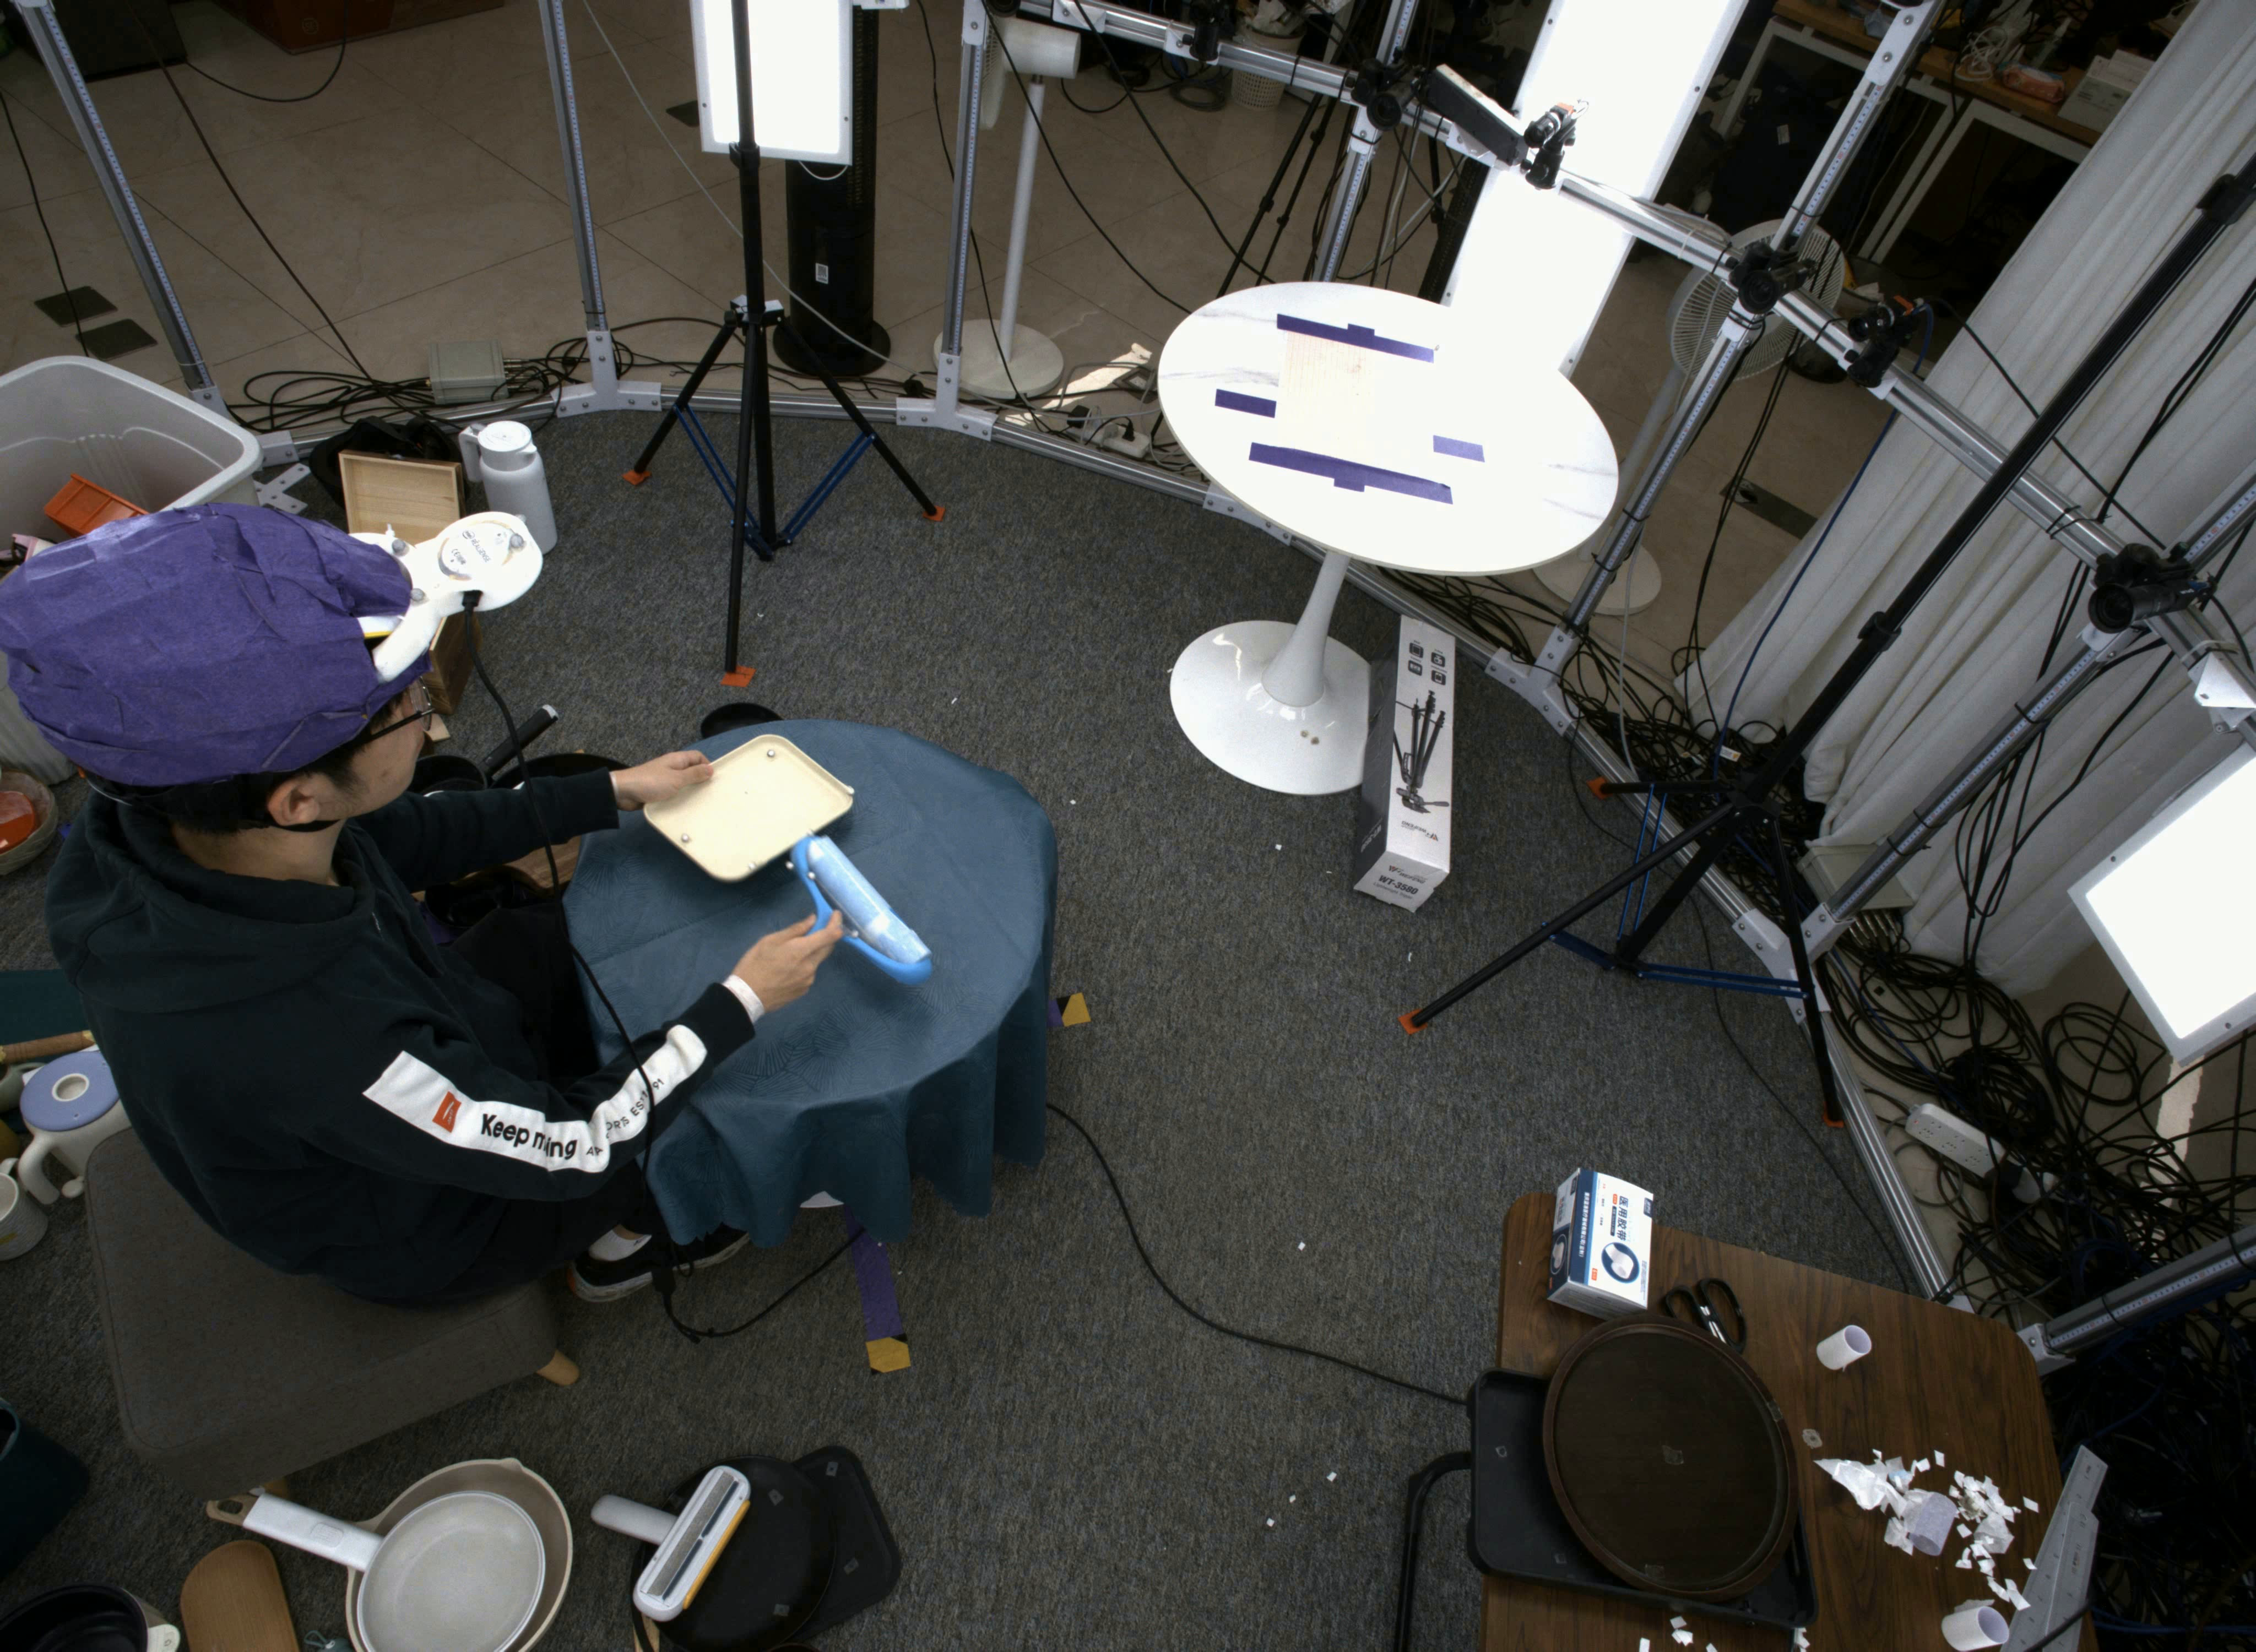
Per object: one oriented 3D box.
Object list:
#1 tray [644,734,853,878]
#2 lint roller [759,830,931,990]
[{"bbox_3d":[-0.486,-0.029,1.666,0.168,0.018,0.240,36,44,14],"label":"tray"},{"bbox_3d":[-0.357,0.124,1.530,0.229,0.068,0.180,46,54,0],"label":"lint roller"}]
